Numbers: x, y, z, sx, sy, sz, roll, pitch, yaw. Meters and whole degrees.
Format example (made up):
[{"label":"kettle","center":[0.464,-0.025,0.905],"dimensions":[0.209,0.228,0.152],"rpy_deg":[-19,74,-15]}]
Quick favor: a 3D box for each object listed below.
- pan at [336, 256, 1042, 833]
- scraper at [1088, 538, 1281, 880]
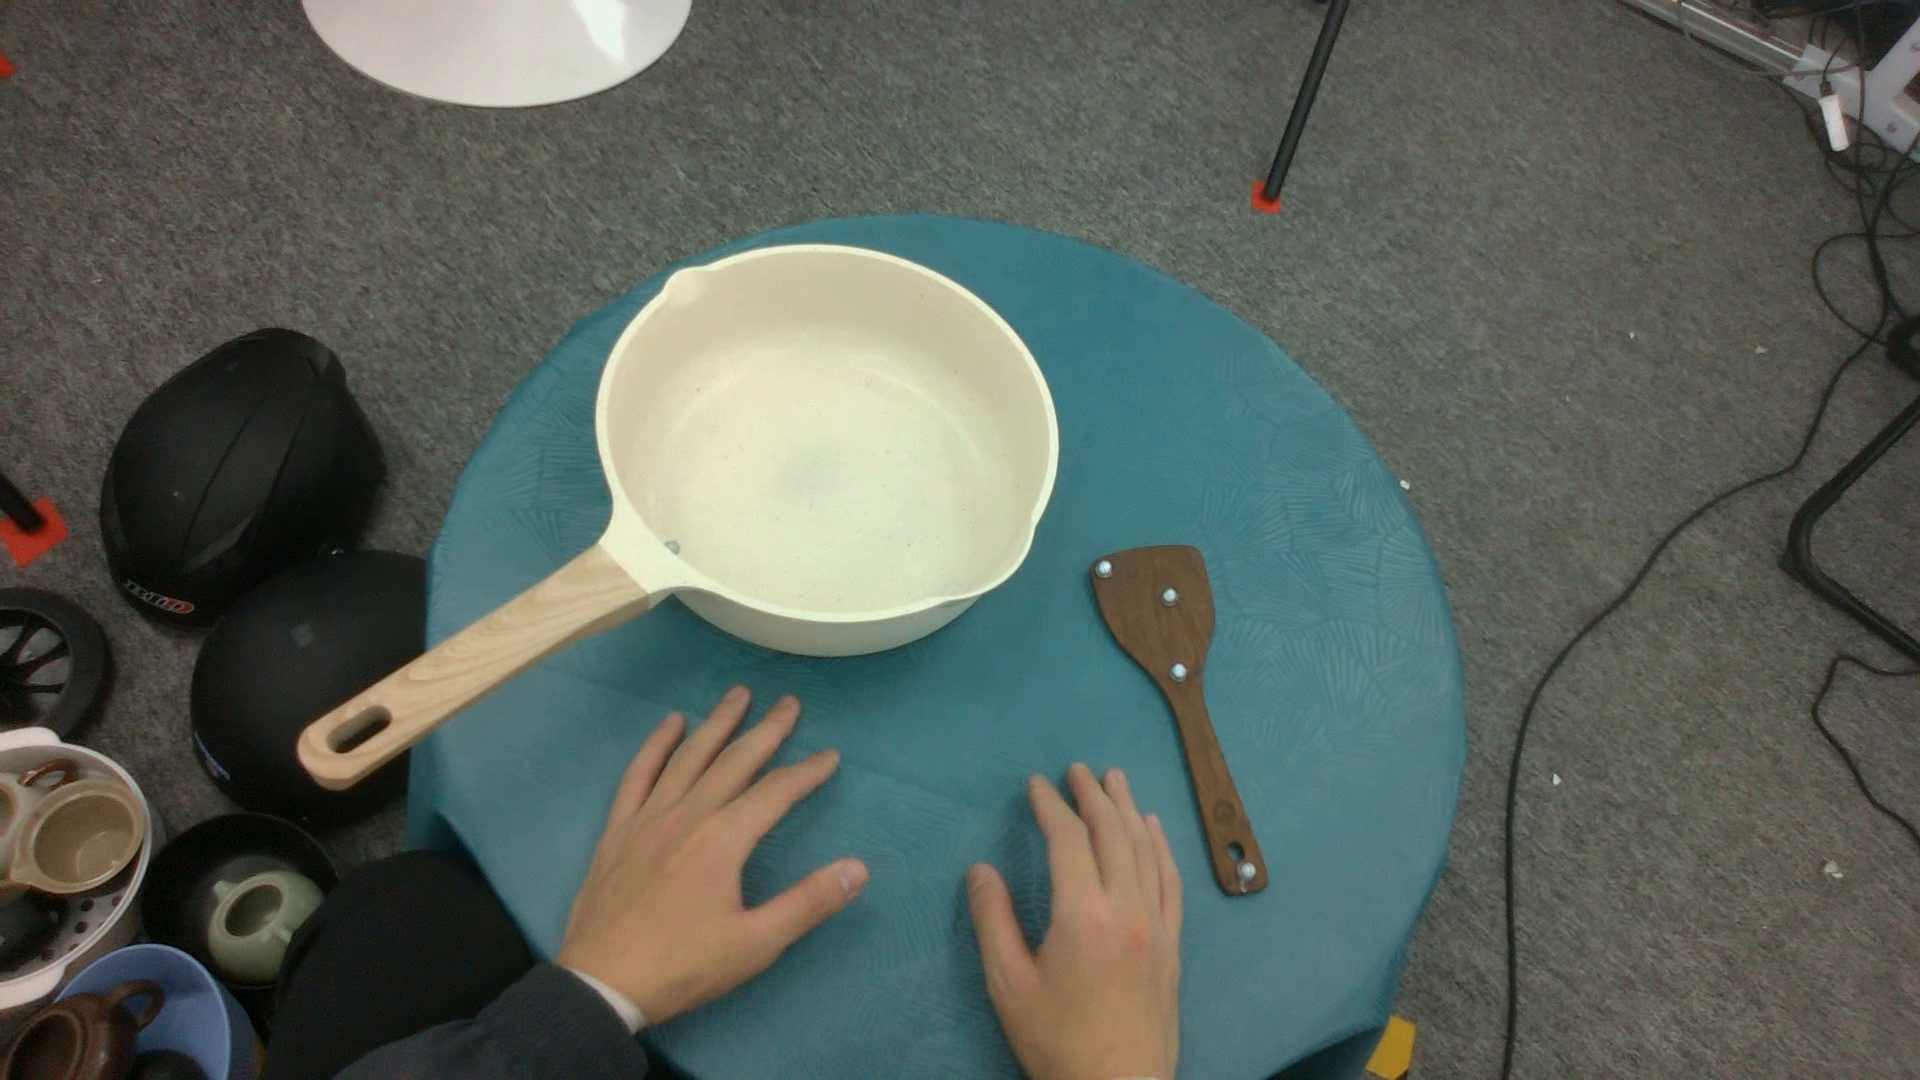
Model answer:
[{"label":"pan","center":[-0.141,0.010,0.750],"dimensions":[0.263,0.101,0.437],"rpy_deg":[39,61,14]},{"label":"scraper","center":[0.136,0.092,0.791],"dimensions":[0.076,0.011,0.212],"rpy_deg":[-9,61,-13]}]
